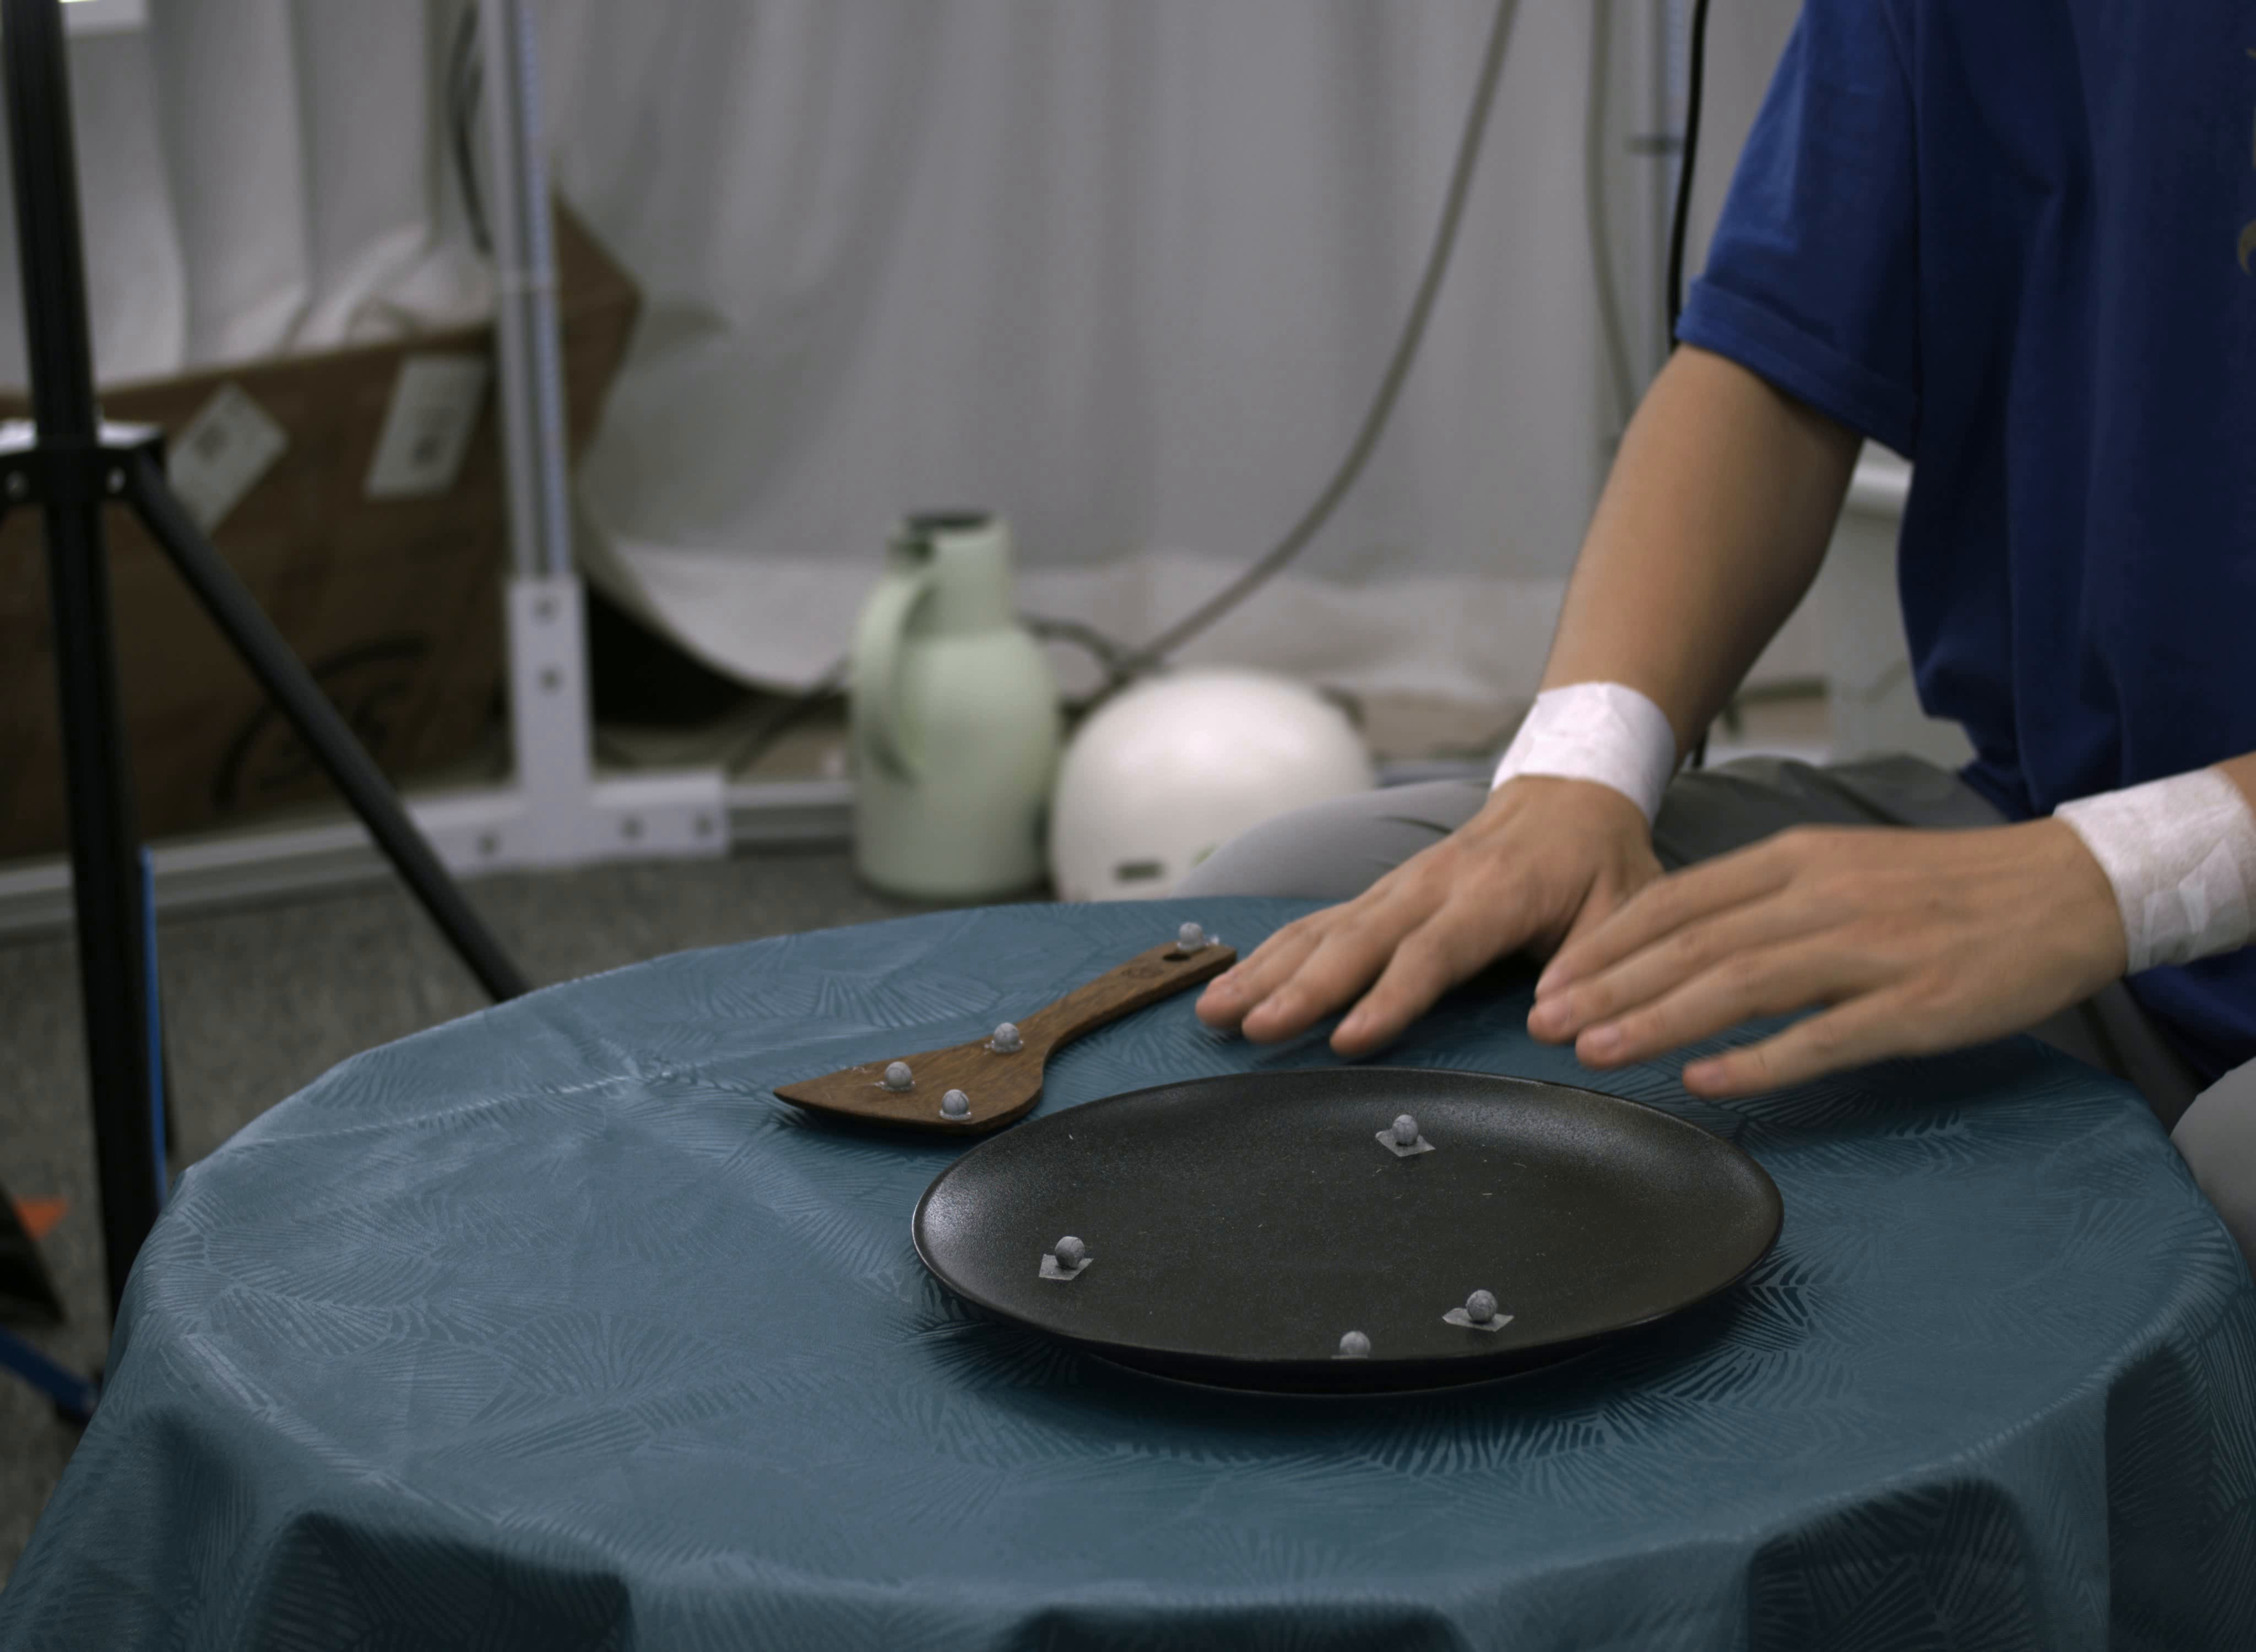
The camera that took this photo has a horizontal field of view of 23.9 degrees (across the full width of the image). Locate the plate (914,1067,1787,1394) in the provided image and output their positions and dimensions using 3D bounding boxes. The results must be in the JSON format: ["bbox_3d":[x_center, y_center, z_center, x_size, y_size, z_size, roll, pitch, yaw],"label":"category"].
[{"bbox_3d":[0.062,0.115,1.480,0.243,0.023,0.245,-3,16,-1],"label":"plate"}]

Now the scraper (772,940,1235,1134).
[{"bbox_3d":[-0.028,0.066,1.696,0.077,0.011,0.207,9,18,32],"label":"scraper"}]
